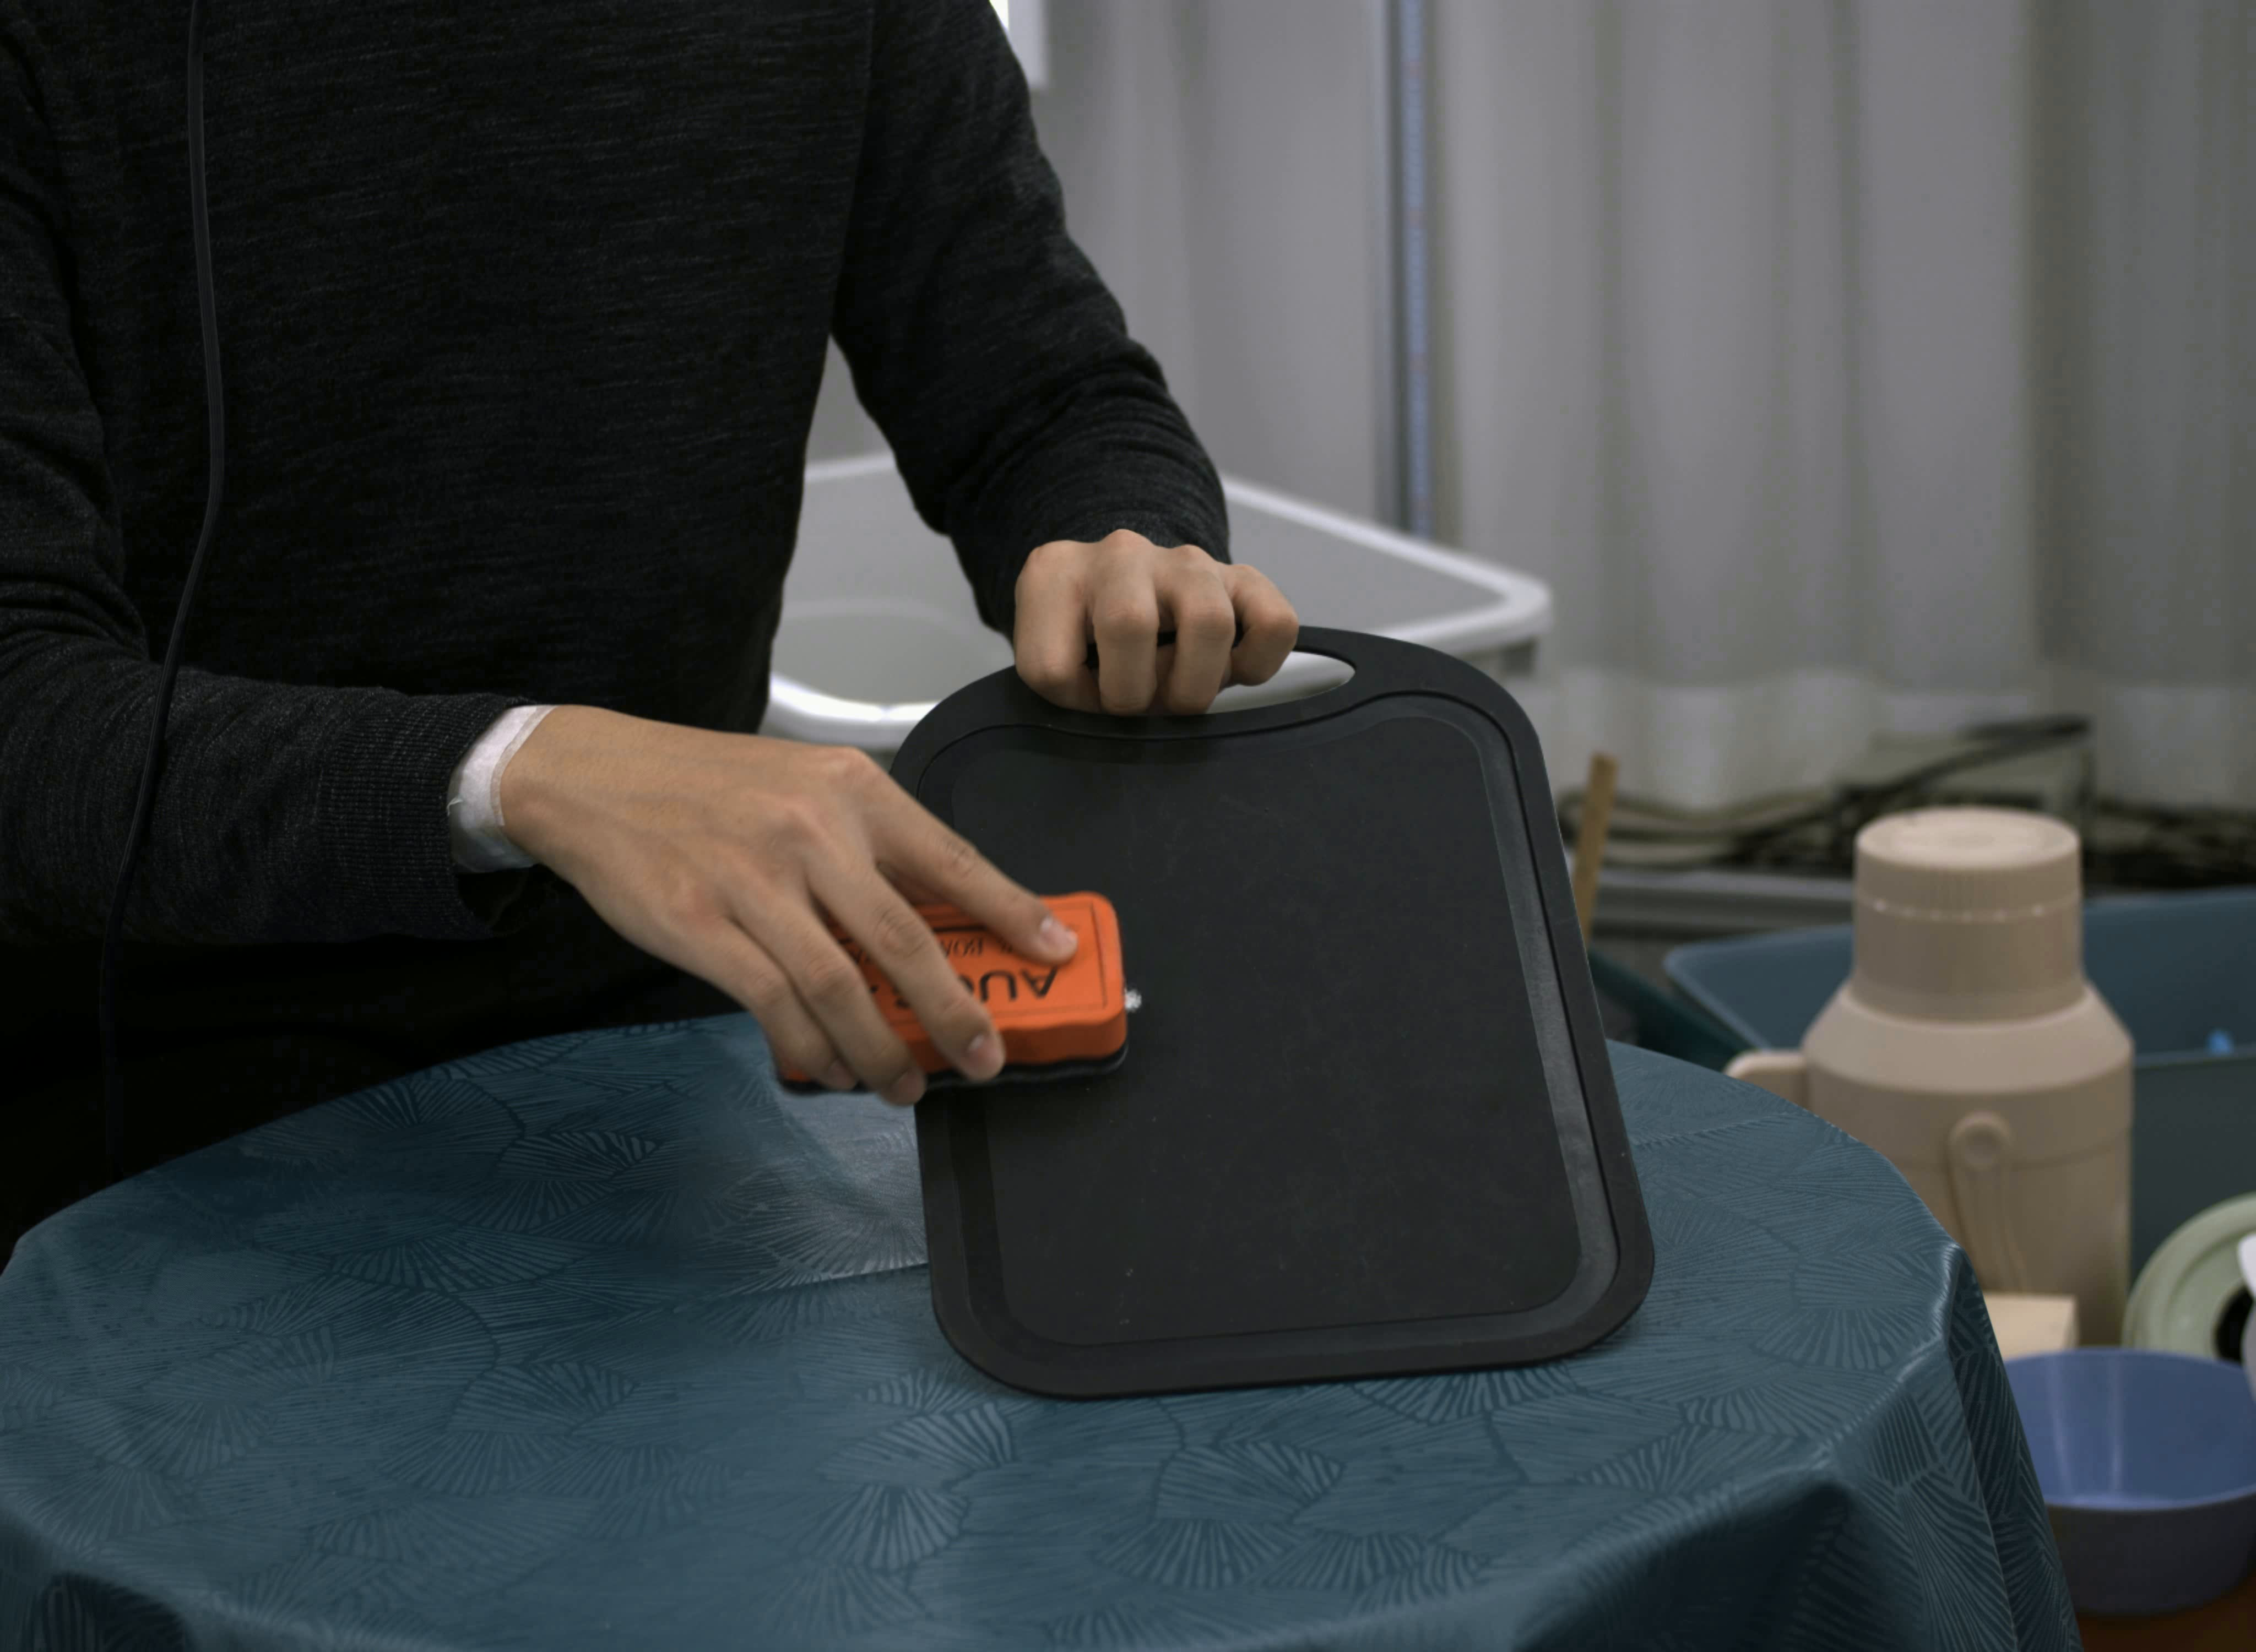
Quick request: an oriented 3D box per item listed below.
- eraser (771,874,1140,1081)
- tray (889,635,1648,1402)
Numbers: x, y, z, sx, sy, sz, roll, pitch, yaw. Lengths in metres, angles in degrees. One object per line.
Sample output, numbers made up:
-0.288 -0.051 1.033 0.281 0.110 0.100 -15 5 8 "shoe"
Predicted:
-0.053 0.045 1.651 0.107 0.022 0.060 -7 37 -3 "eraser"
0.036 0.048 1.661 0.210 0.009 0.330 -4 42 -3 "tray"
